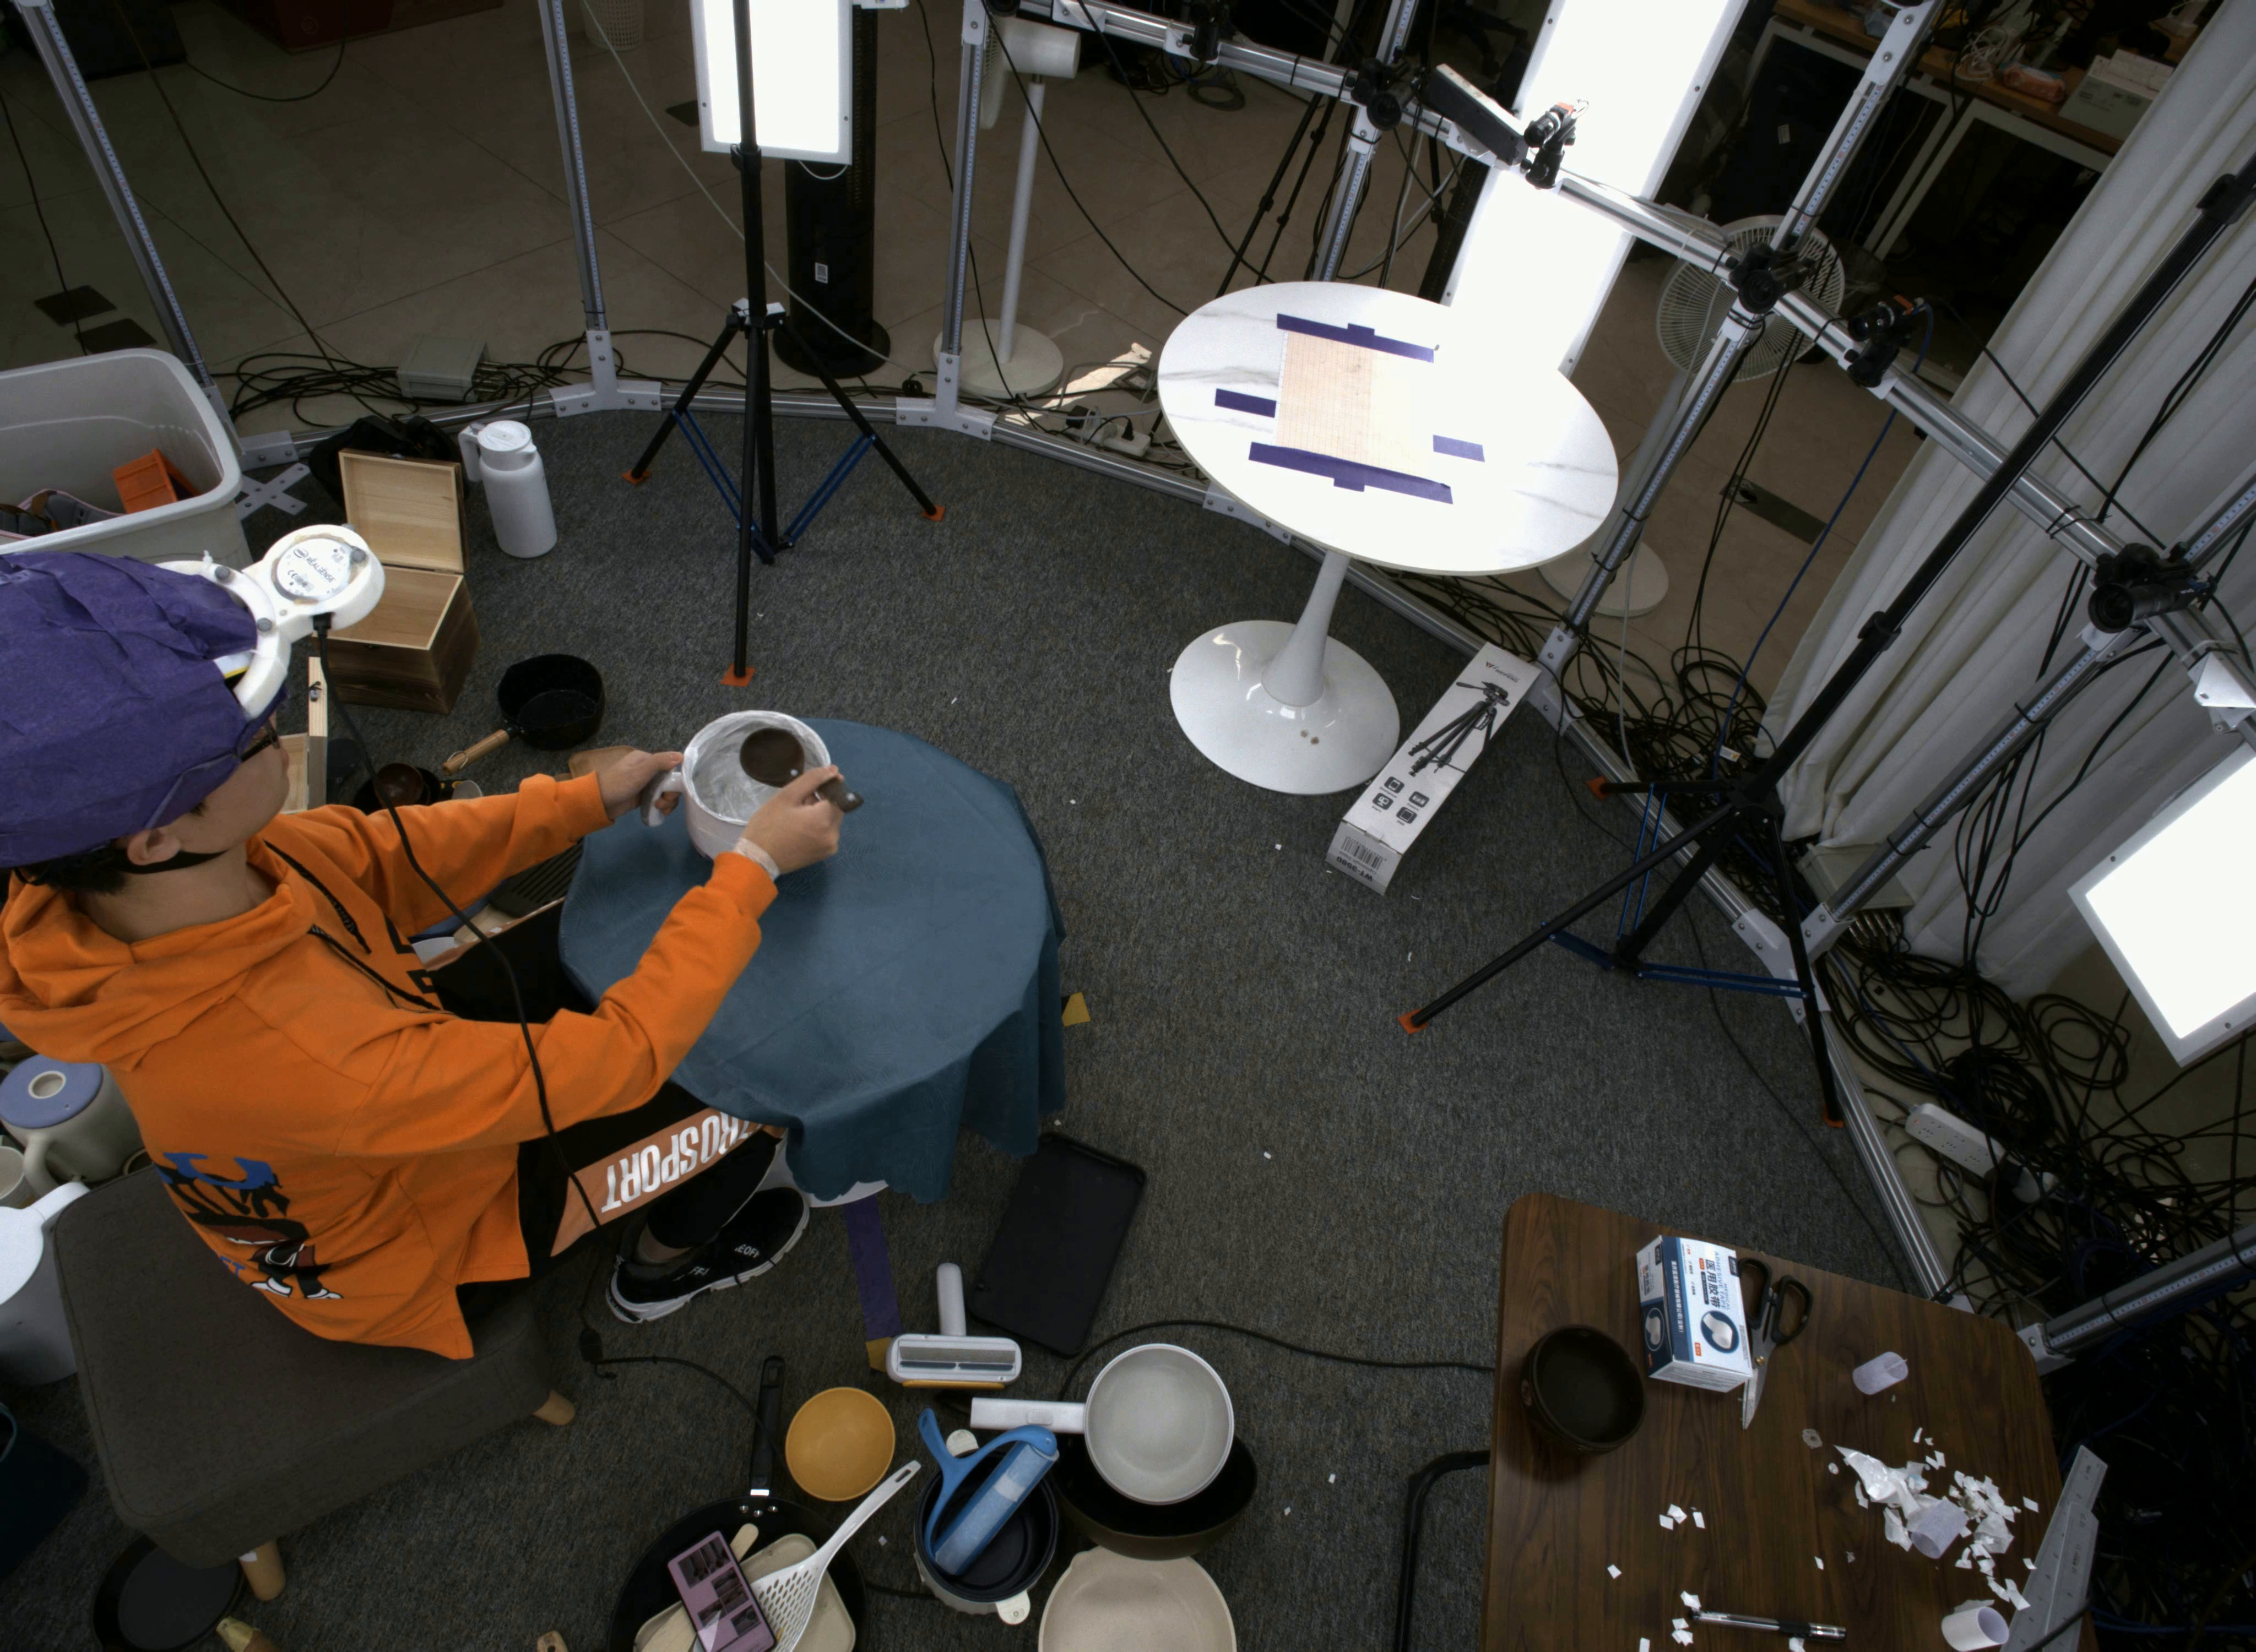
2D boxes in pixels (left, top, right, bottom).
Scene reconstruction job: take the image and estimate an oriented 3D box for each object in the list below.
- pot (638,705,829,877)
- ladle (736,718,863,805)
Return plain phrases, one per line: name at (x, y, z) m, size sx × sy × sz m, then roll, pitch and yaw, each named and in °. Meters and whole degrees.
pot at (-0.486, -0.039, 1.588) m, size 0.234 × 0.139 × 0.175 m, roll 0°, pitch 55°, yaw -16°
ladle at (-0.360, -0.074, 1.413) m, size 0.076 × 0.073 × 0.265 m, roll -35°, pitch 25°, yaw -23°
